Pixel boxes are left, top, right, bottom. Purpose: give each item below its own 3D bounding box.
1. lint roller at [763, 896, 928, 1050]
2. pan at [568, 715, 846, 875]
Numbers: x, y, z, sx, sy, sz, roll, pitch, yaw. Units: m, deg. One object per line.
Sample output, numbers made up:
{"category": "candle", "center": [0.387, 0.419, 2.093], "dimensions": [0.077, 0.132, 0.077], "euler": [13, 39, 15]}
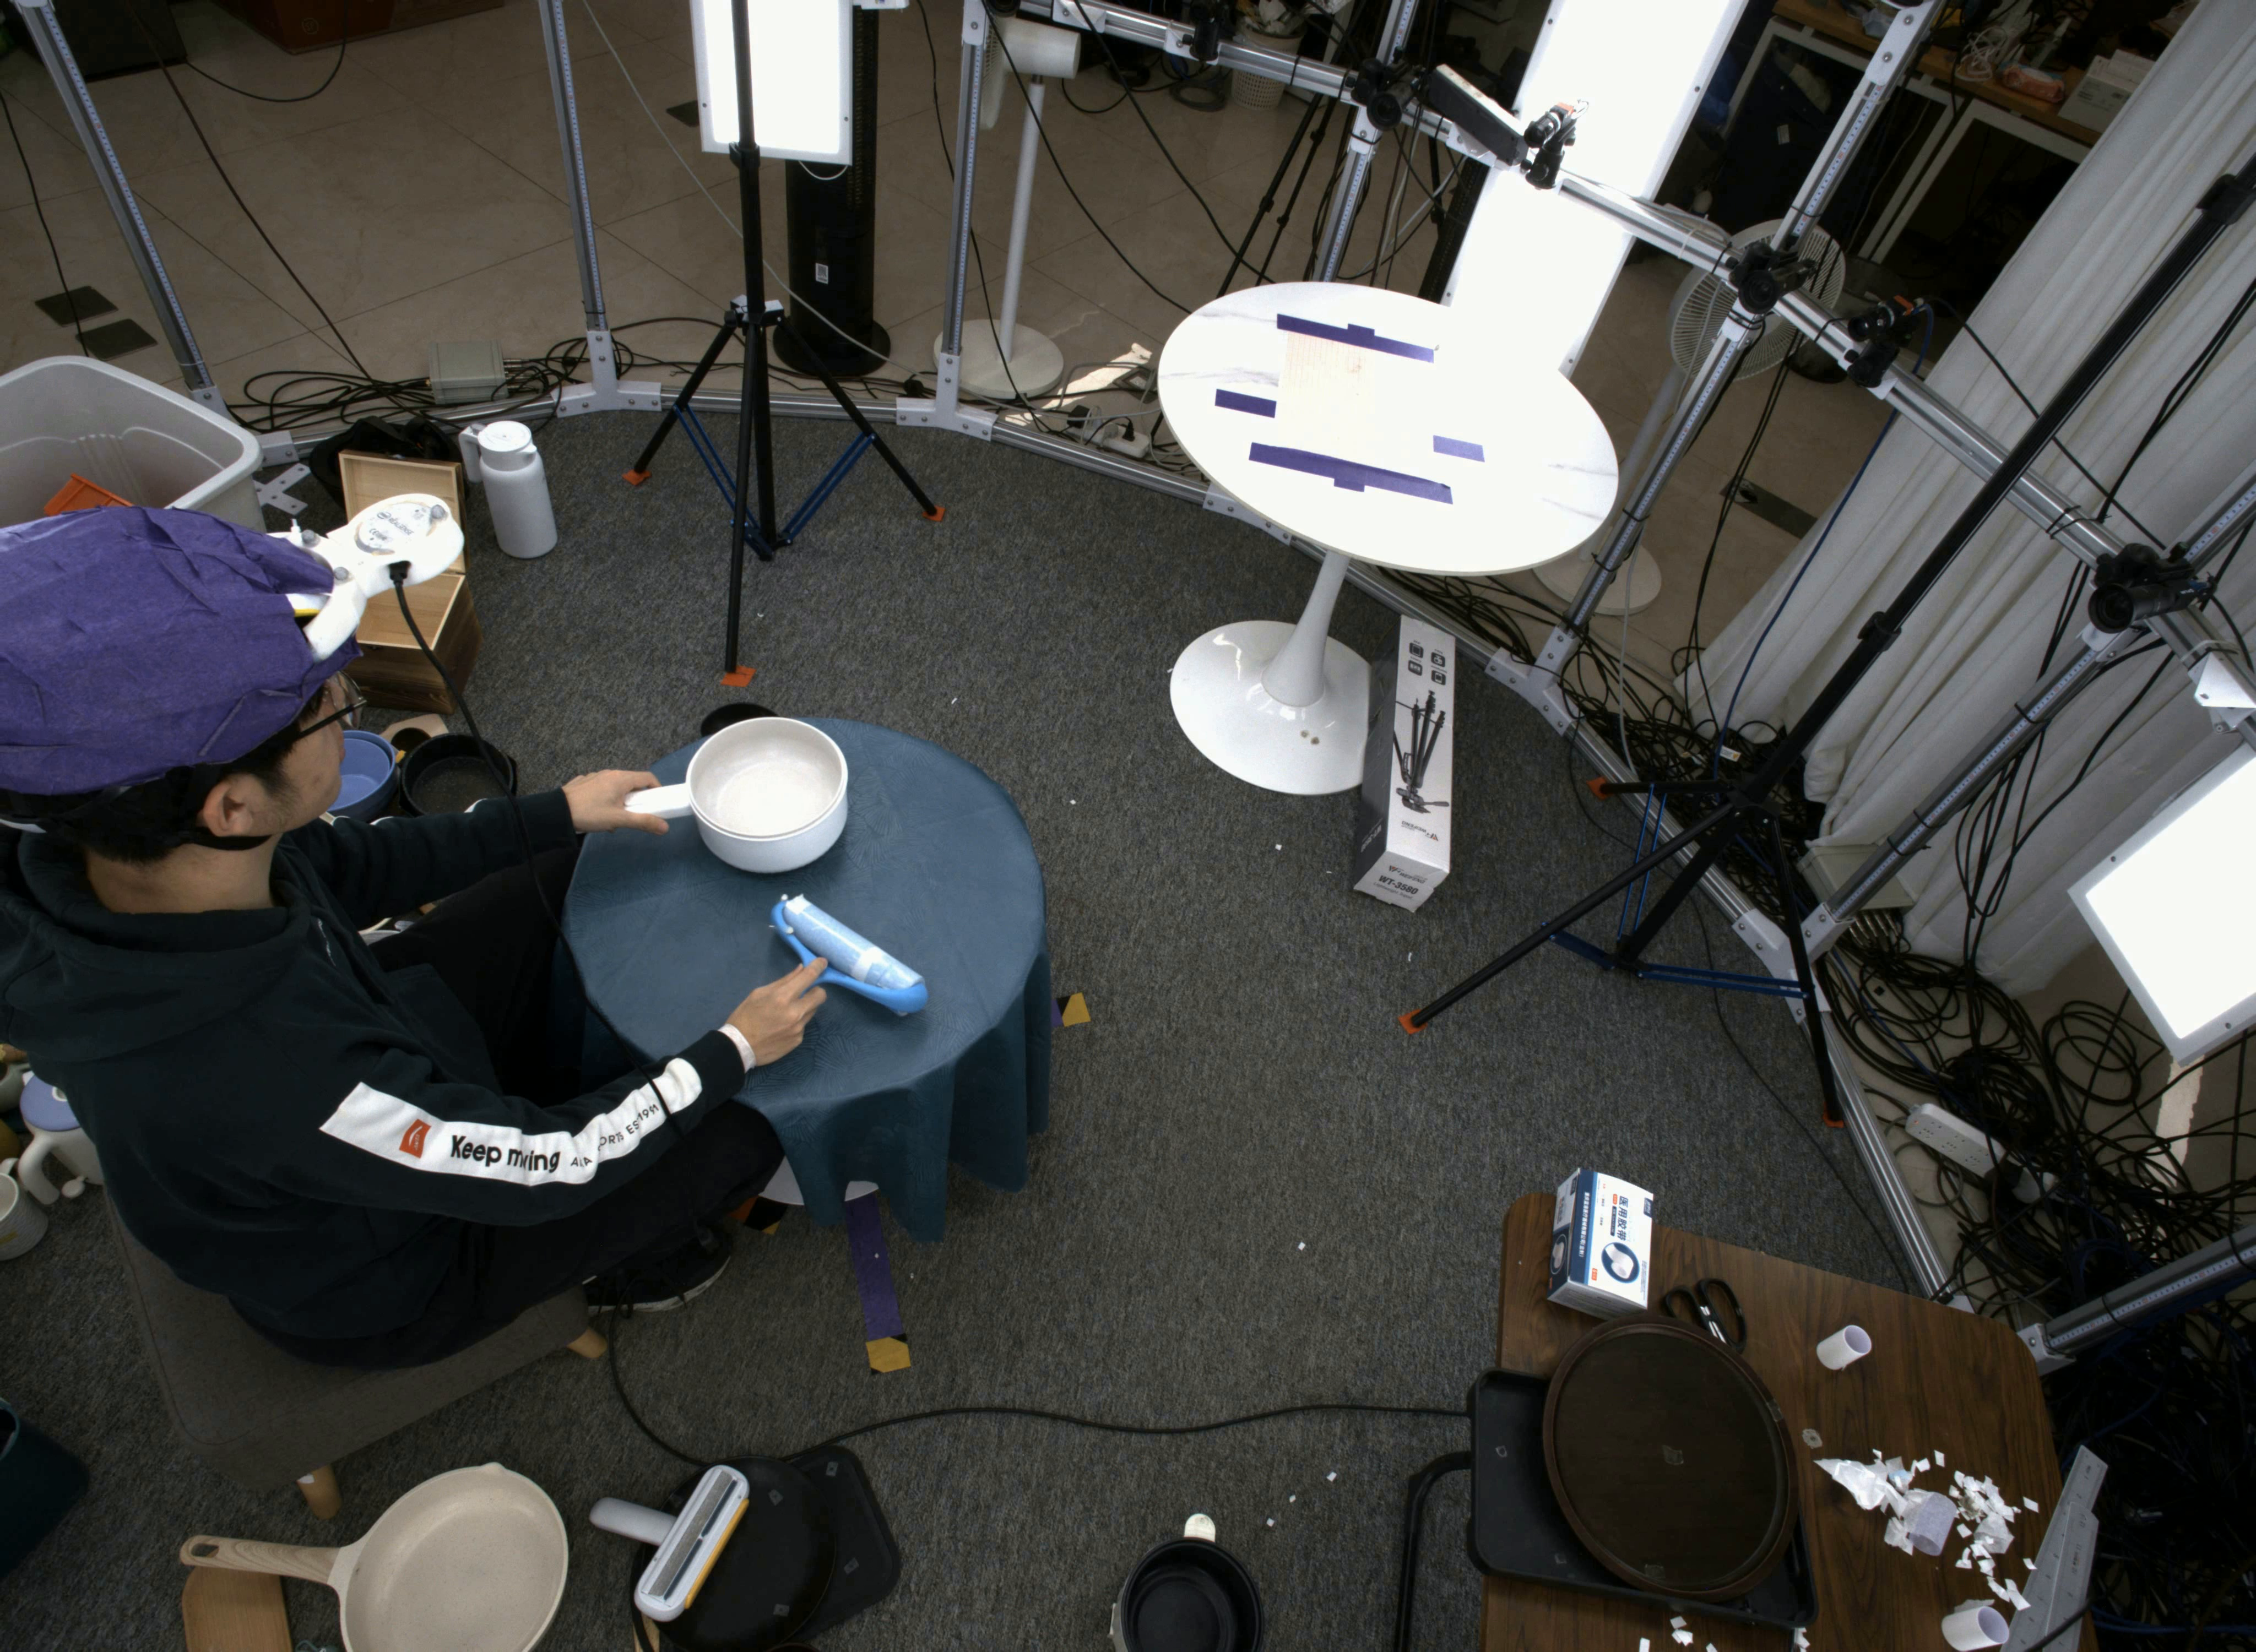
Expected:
{"category": "lint roller", "center": [-0.370, 0.187, 1.552], "dimensions": [0.225, 0.069, 0.179], "euler": [29, 48, 10]}
{"category": "pan", "center": [-0.537, -0.022, 1.654], "dimensions": [0.355, 0.104, 0.196], "euler": [-11, 58, -17]}
